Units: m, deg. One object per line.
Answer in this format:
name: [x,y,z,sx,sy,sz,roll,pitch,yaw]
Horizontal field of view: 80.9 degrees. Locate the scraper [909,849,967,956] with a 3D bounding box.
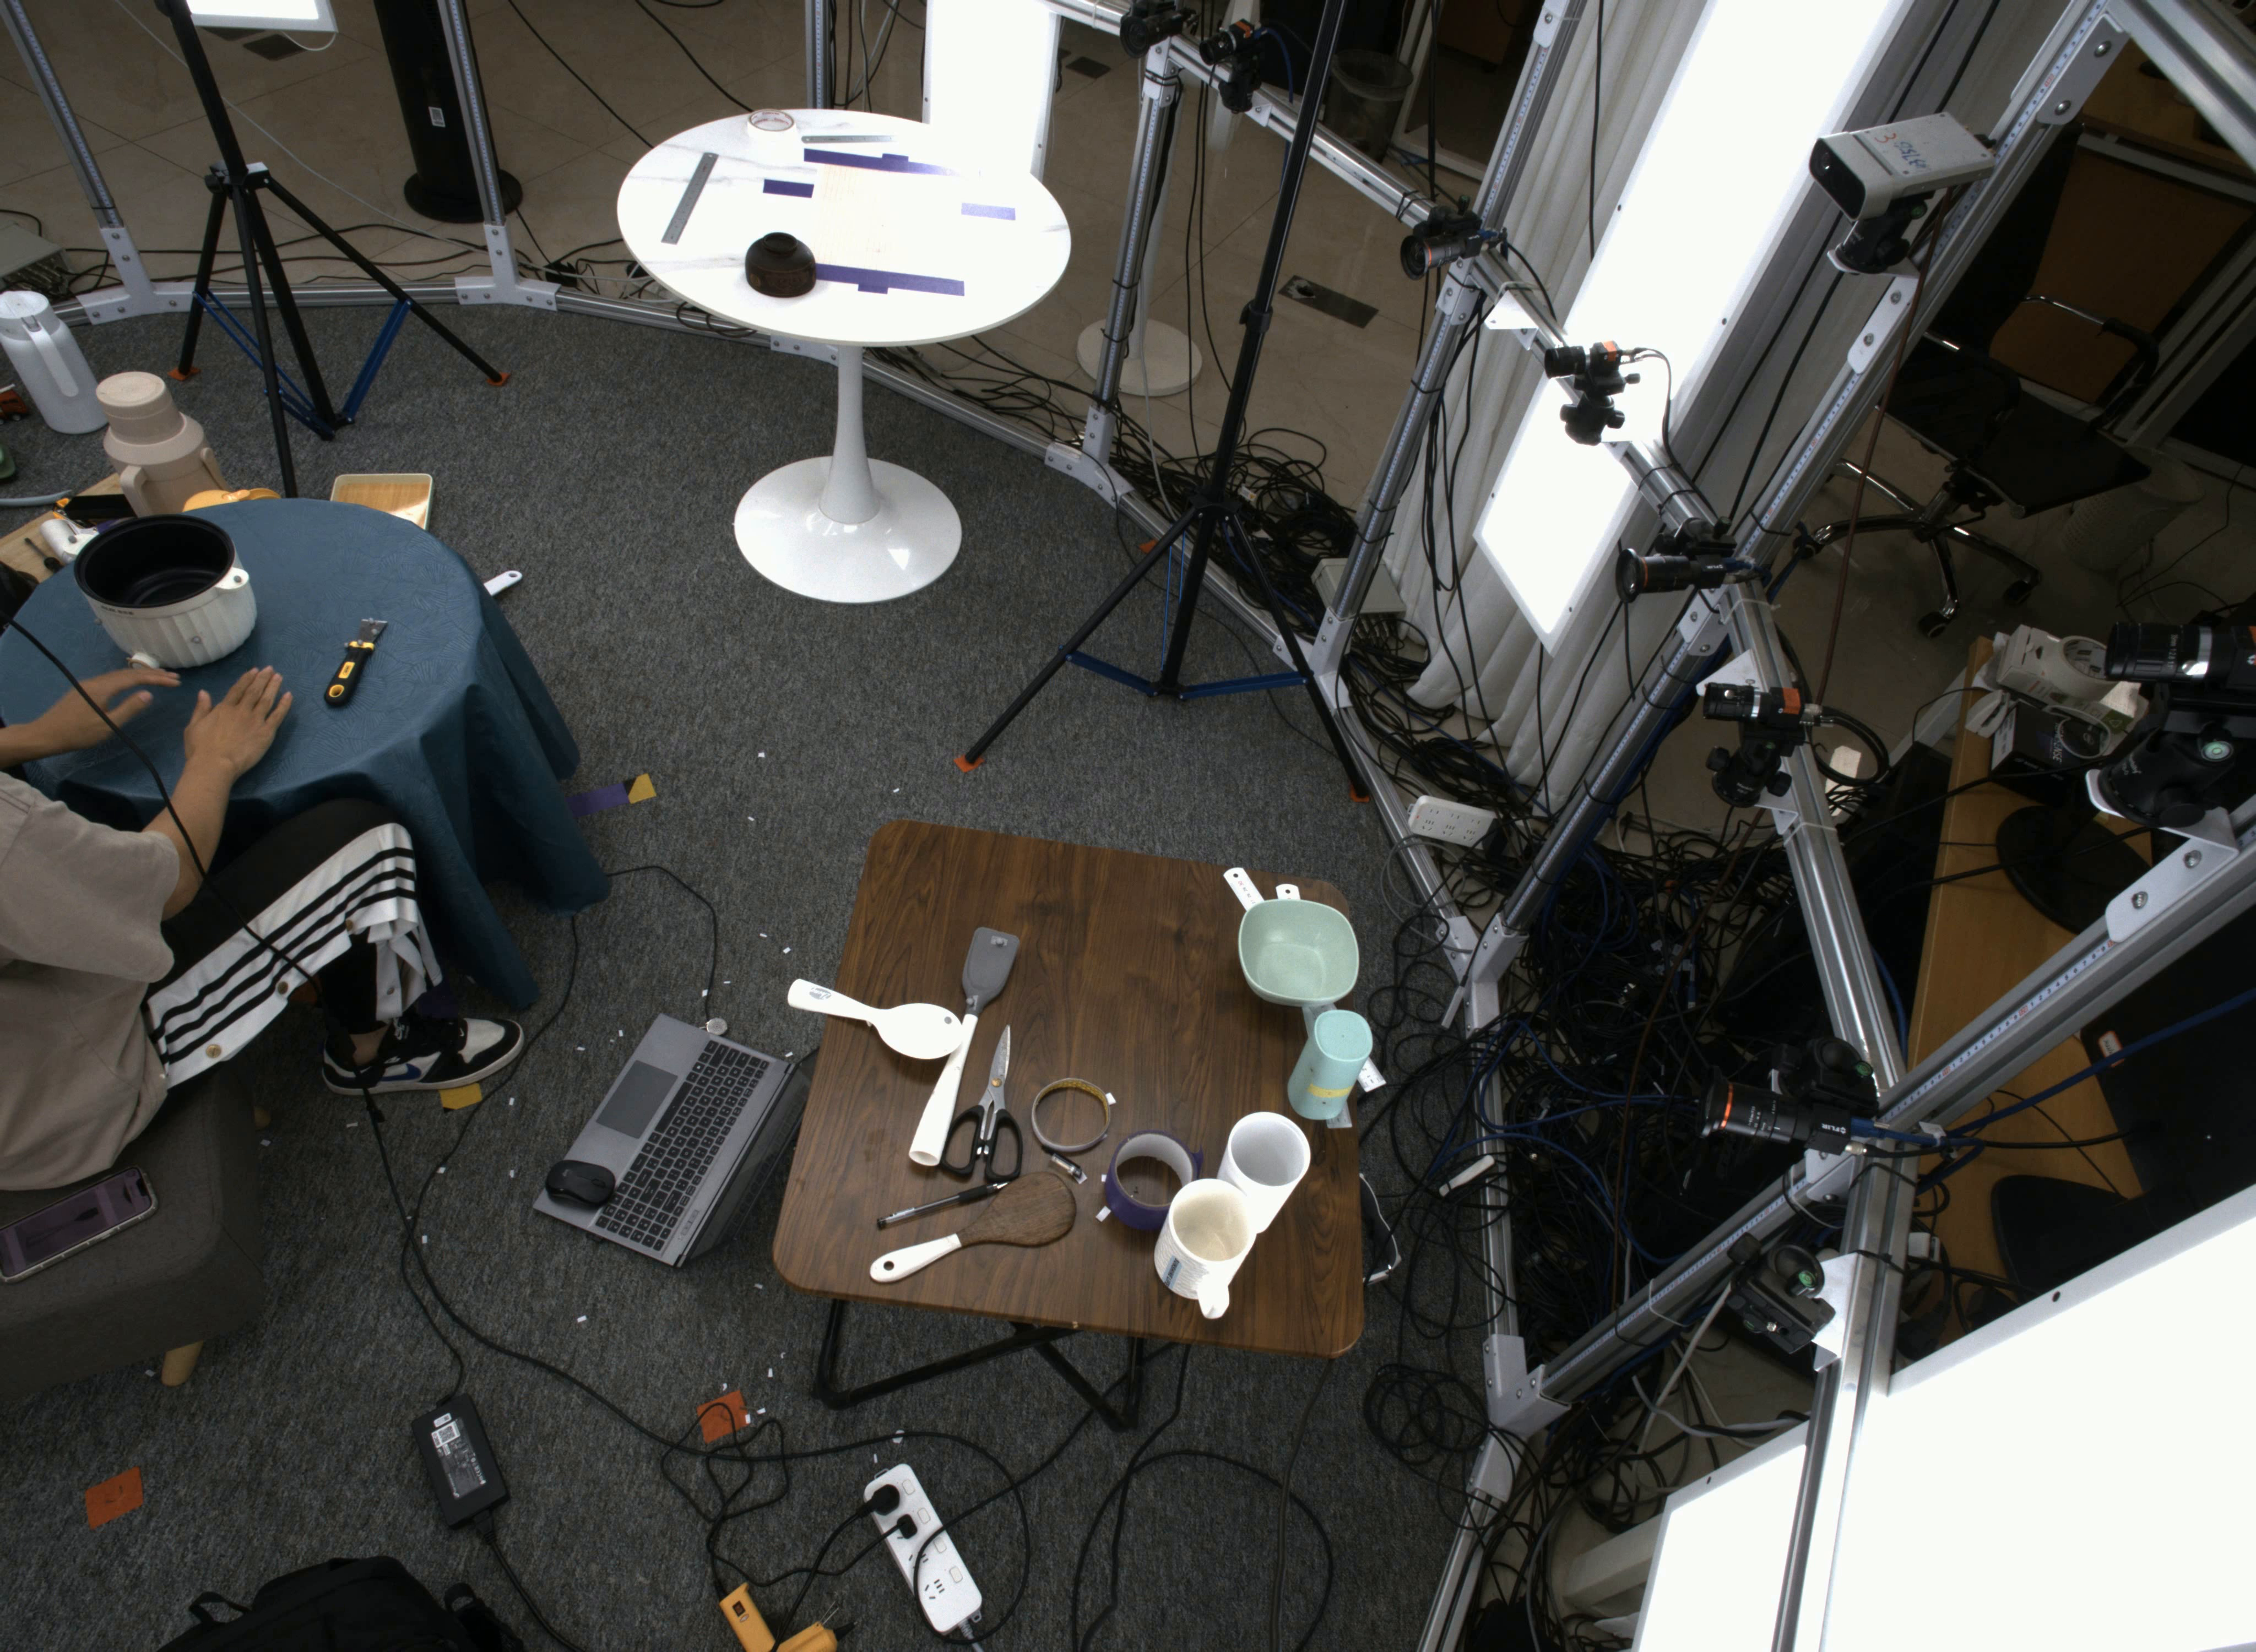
scraper: [-0.249,0.097,1.694,0.038,0.015,0.168,18,50,-5]

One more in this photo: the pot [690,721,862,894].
pot: [-0.449,-0.017,1.653,0.237,0.146,0.189,22,48,7]
